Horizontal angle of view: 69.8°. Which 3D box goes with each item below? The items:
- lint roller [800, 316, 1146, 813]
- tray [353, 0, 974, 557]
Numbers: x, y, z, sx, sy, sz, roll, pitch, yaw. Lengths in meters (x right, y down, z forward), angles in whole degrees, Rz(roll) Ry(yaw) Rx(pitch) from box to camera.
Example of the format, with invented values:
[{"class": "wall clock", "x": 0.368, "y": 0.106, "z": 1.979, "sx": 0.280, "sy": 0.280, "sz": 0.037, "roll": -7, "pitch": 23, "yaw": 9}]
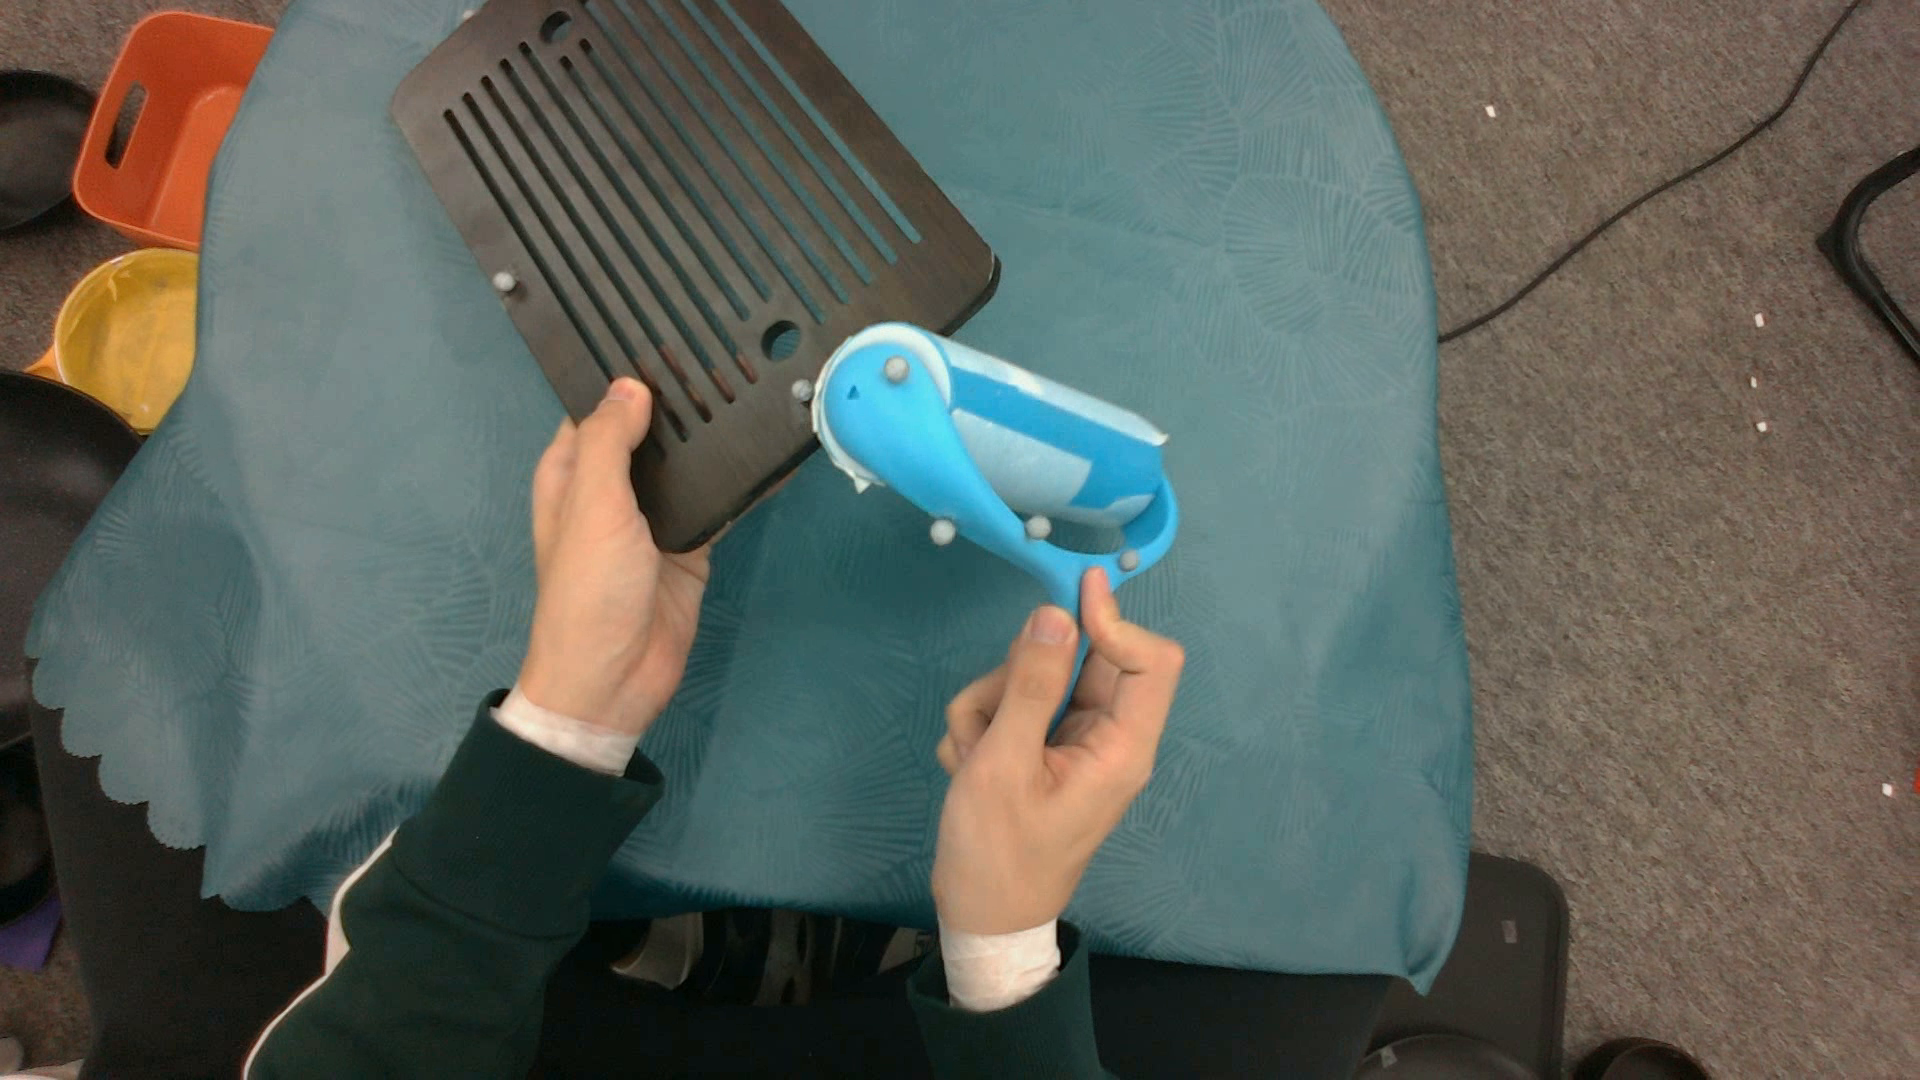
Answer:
[{"class": "lint roller", "x": 0.016, "y": 0.015, "z": 0.538, "sx": 0.068, "sy": 0.229, "sz": 0.180, "roll": -5, "pitch": 87, "yaw": 25}, {"class": "tray", "x": -0.137, "y": -0.147, "z": 0.577, "sx": 0.170, "sy": 0.018, "sz": 0.306, "roll": -42, "pitch": 63, "yaw": 5}]
